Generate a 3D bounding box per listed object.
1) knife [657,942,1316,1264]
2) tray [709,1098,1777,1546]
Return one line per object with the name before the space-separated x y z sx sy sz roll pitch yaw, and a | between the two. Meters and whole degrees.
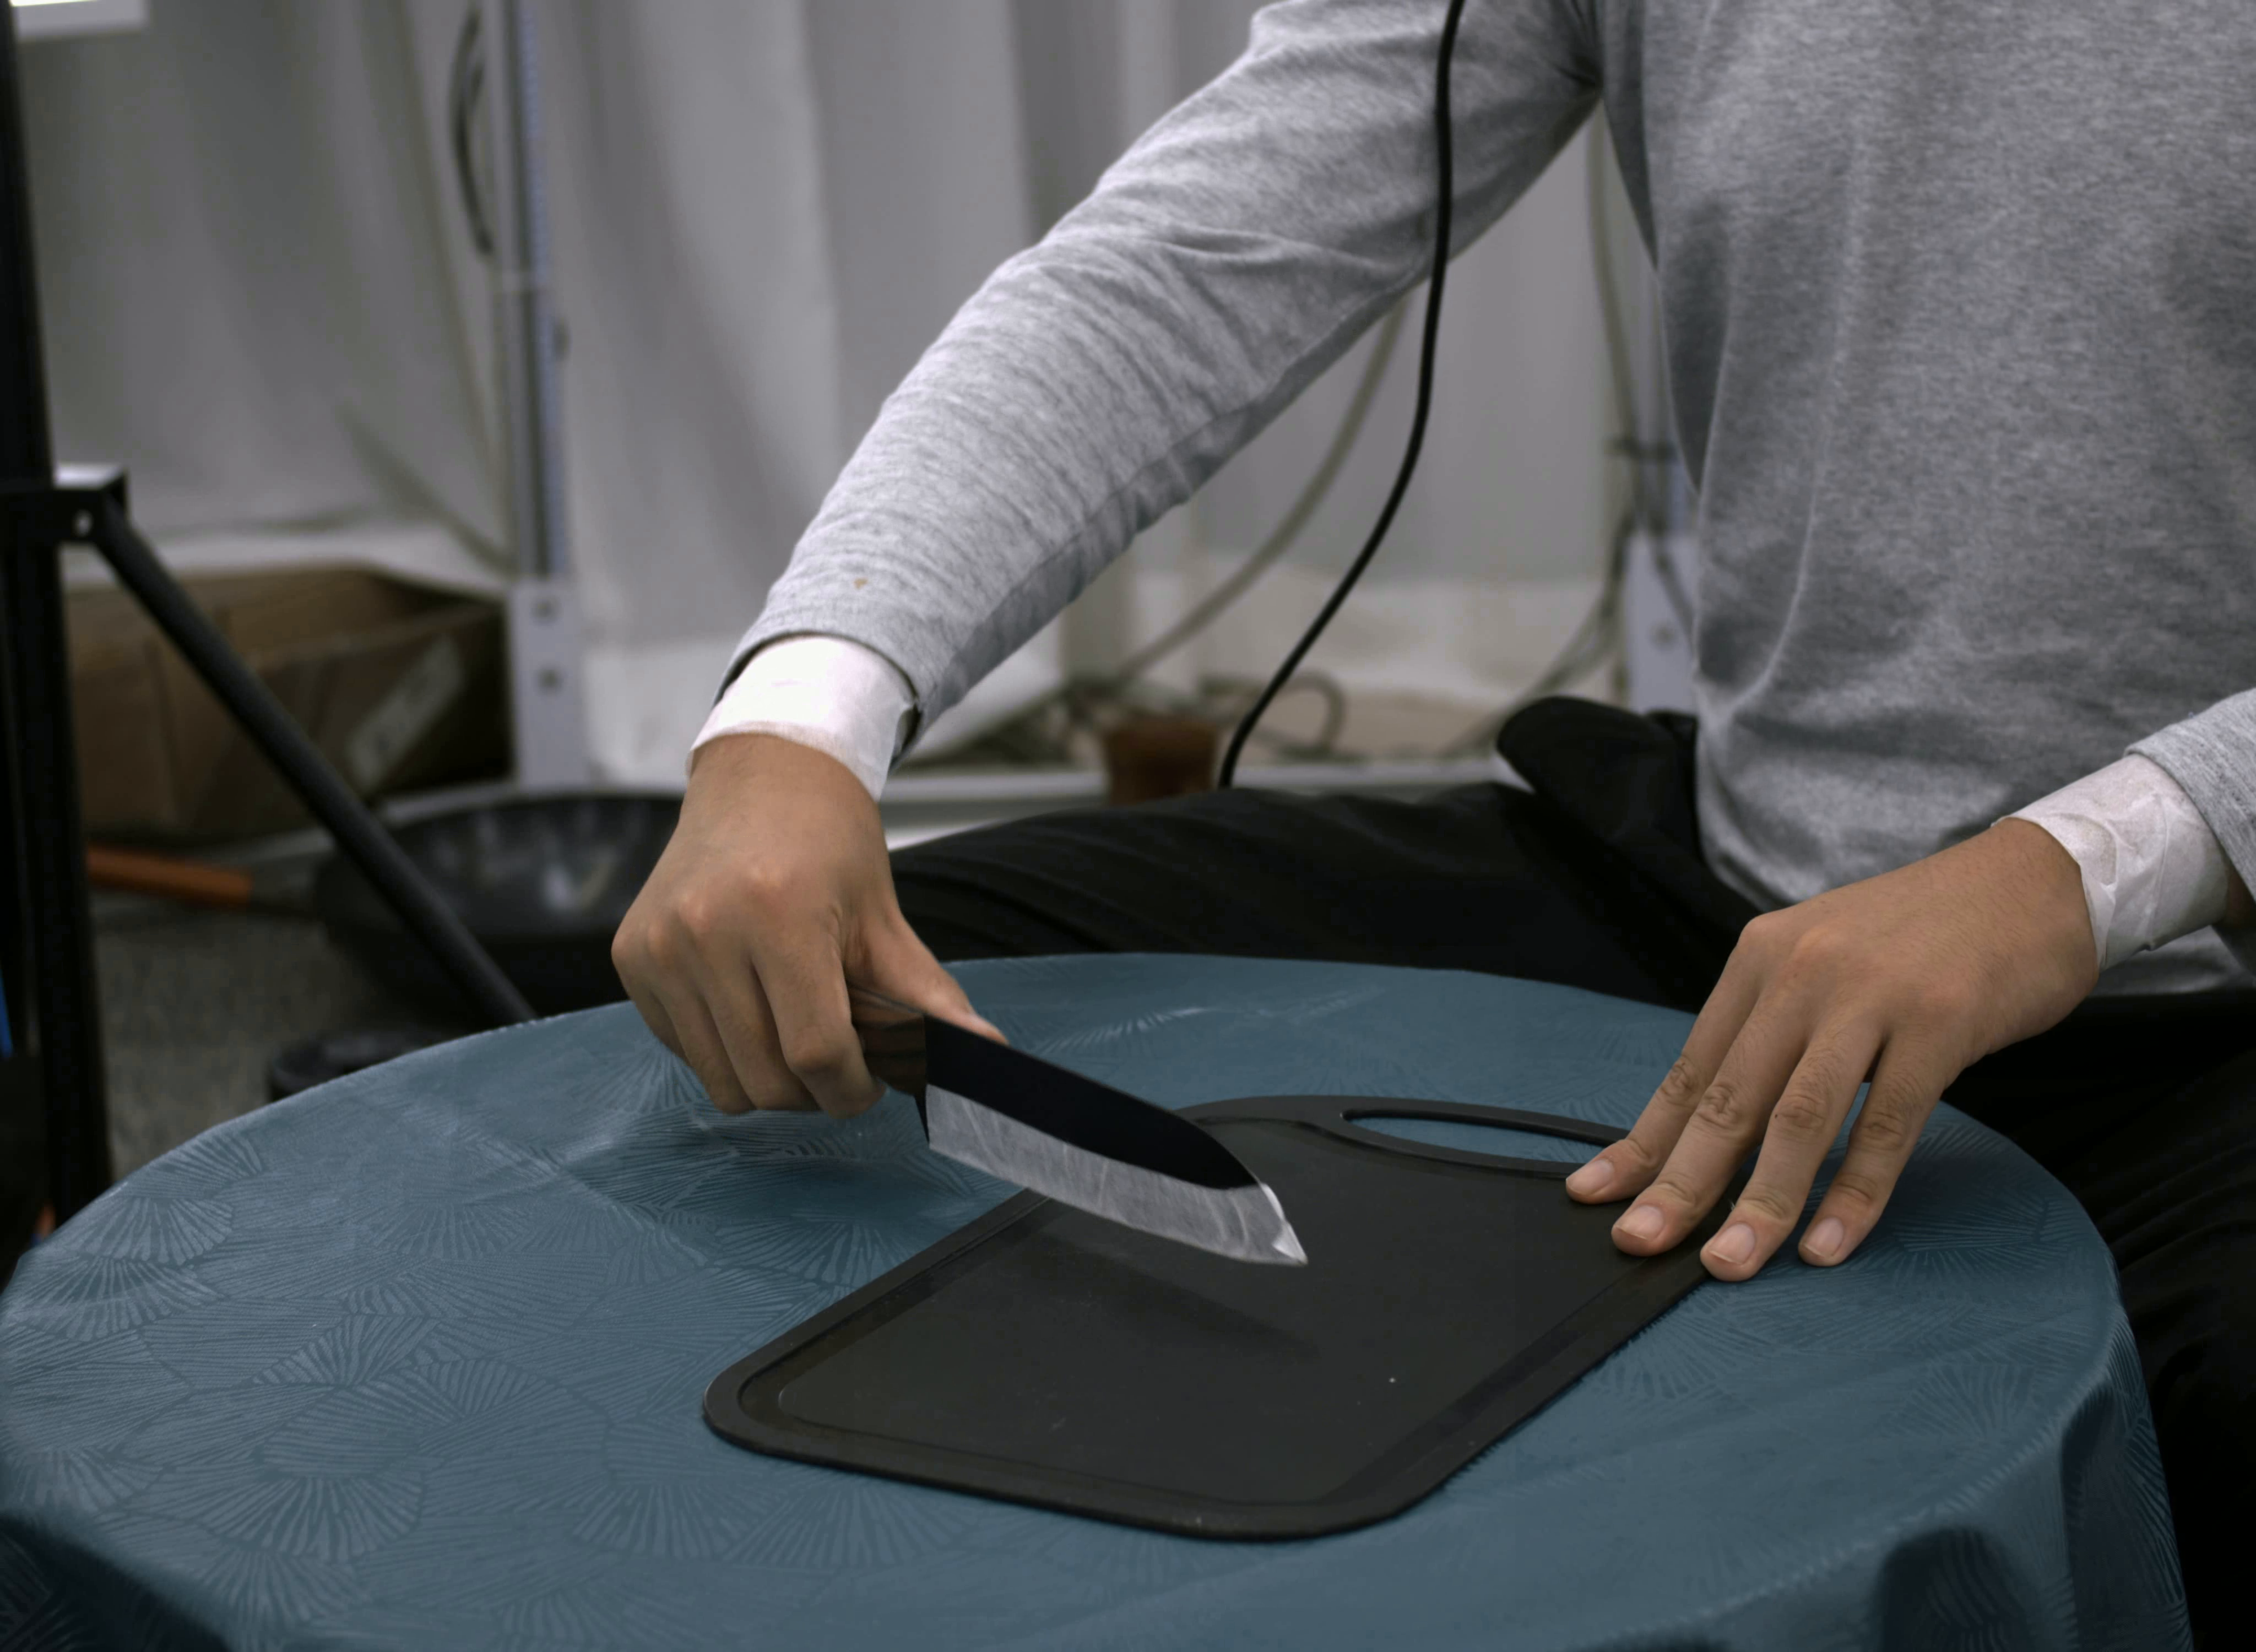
knife | -0.044 0.079 1.548 0.019 0.050 0.296 -28 31 -33
tray | 0.041 0.128 1.475 0.215 0.010 0.319 8 18 31
